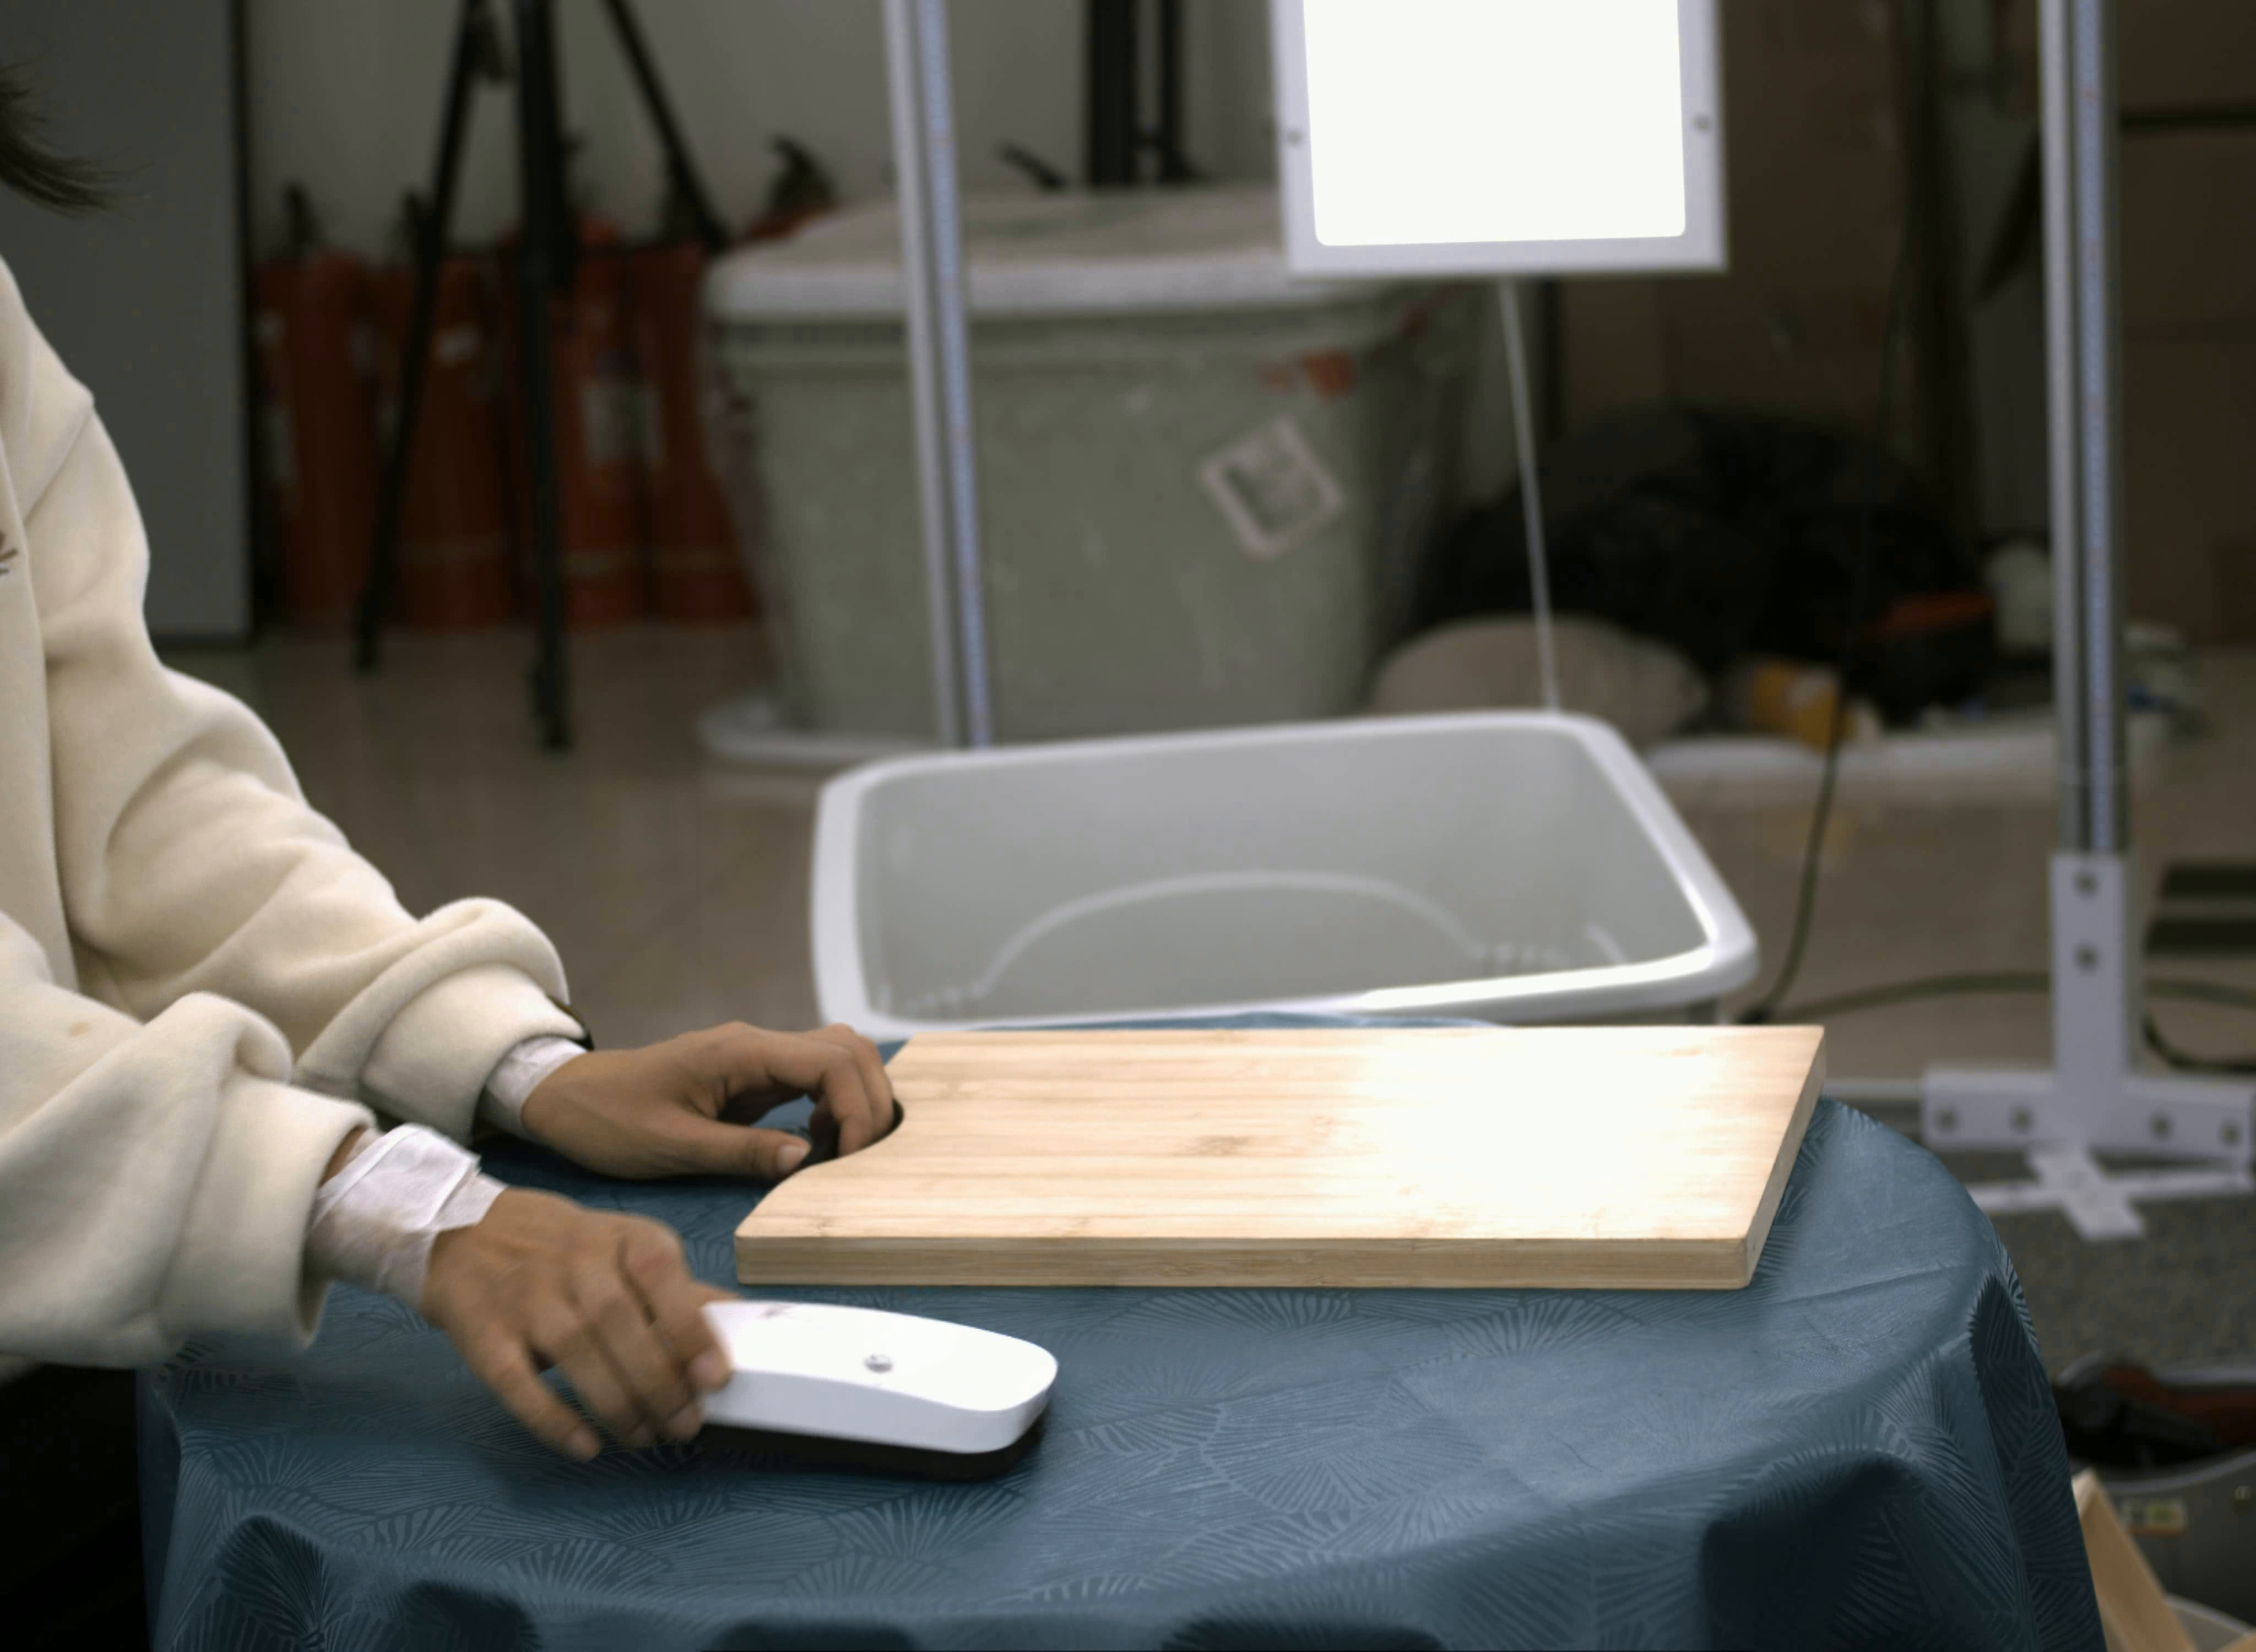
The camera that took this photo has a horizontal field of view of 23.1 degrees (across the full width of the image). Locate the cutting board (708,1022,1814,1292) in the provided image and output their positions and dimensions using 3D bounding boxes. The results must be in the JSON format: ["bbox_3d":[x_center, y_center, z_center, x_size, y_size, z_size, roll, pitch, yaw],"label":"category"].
[{"bbox_3d":[0.053,0.113,1.901,0.352,0.023,0.247,-2,14,15],"label":"cutting board"}]

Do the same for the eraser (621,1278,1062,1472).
[{"bbox_3d":[-0.087,0.165,1.677,0.133,0.035,0.062,6,15,21],"label":"eraser"}]
